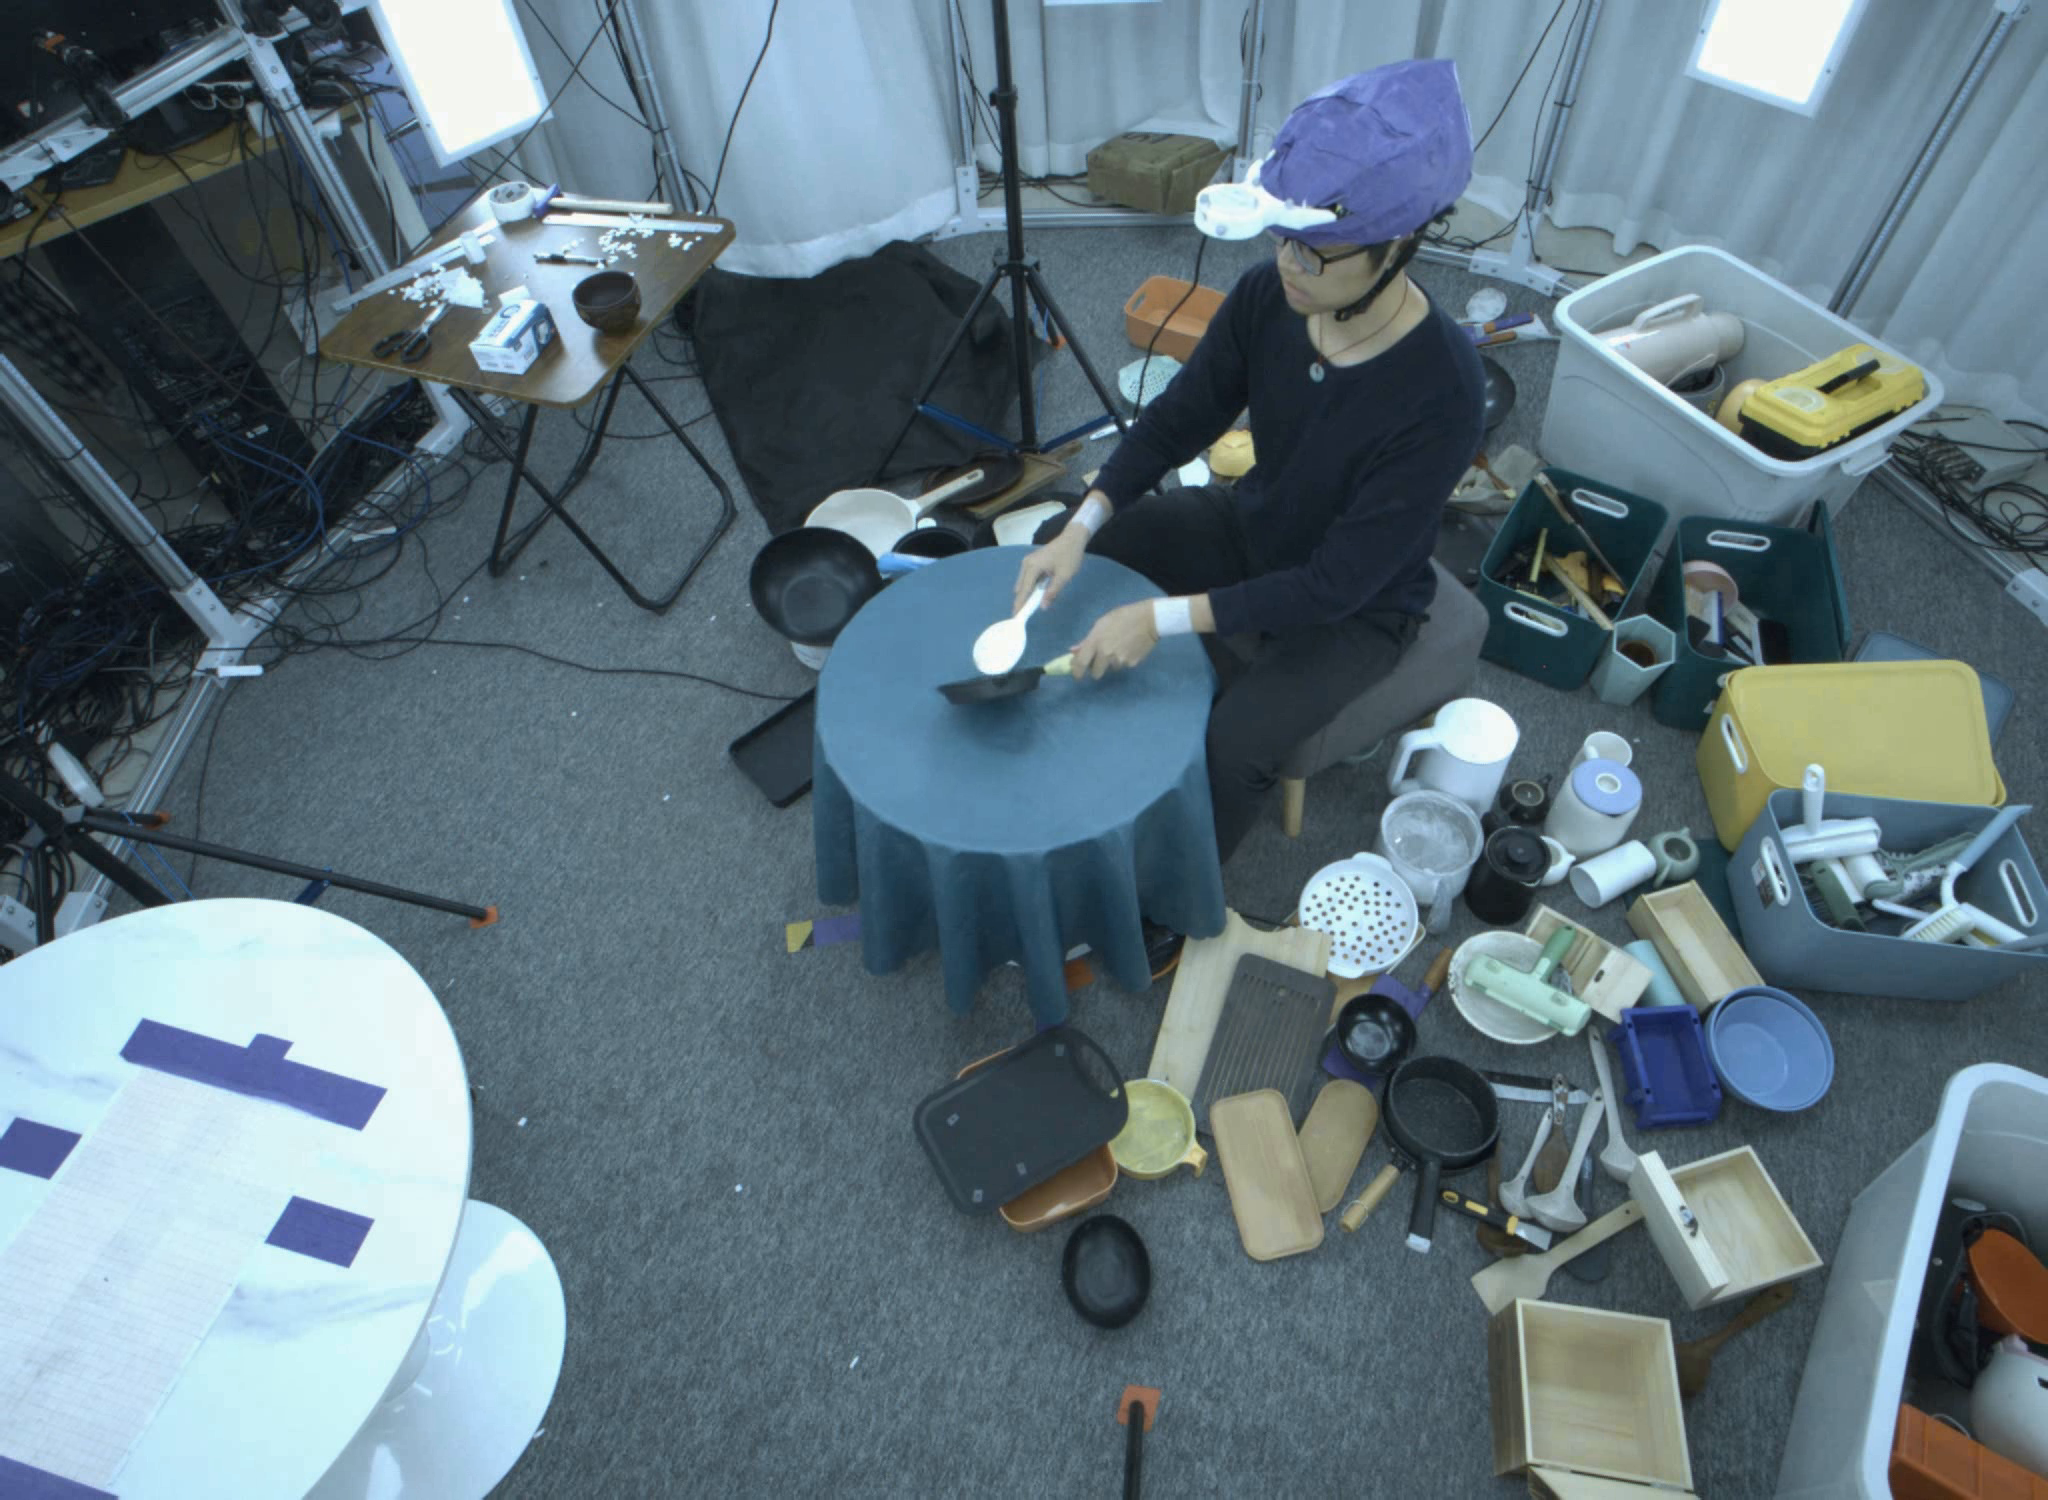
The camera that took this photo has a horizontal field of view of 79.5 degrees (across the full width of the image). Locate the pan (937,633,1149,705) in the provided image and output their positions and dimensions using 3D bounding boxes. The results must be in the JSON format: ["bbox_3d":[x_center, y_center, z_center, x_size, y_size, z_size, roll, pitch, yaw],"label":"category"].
[{"bbox_3d":[0.033,-0.118,1.800,0.326,0.167,0.050,-13,95,-11],"label":"pan"}]

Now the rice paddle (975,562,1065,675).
[{"bbox_3d":[-0.004,-0.196,1.843,0.068,0.029,0.205,31,73,9],"label":"rice paddle"}]
